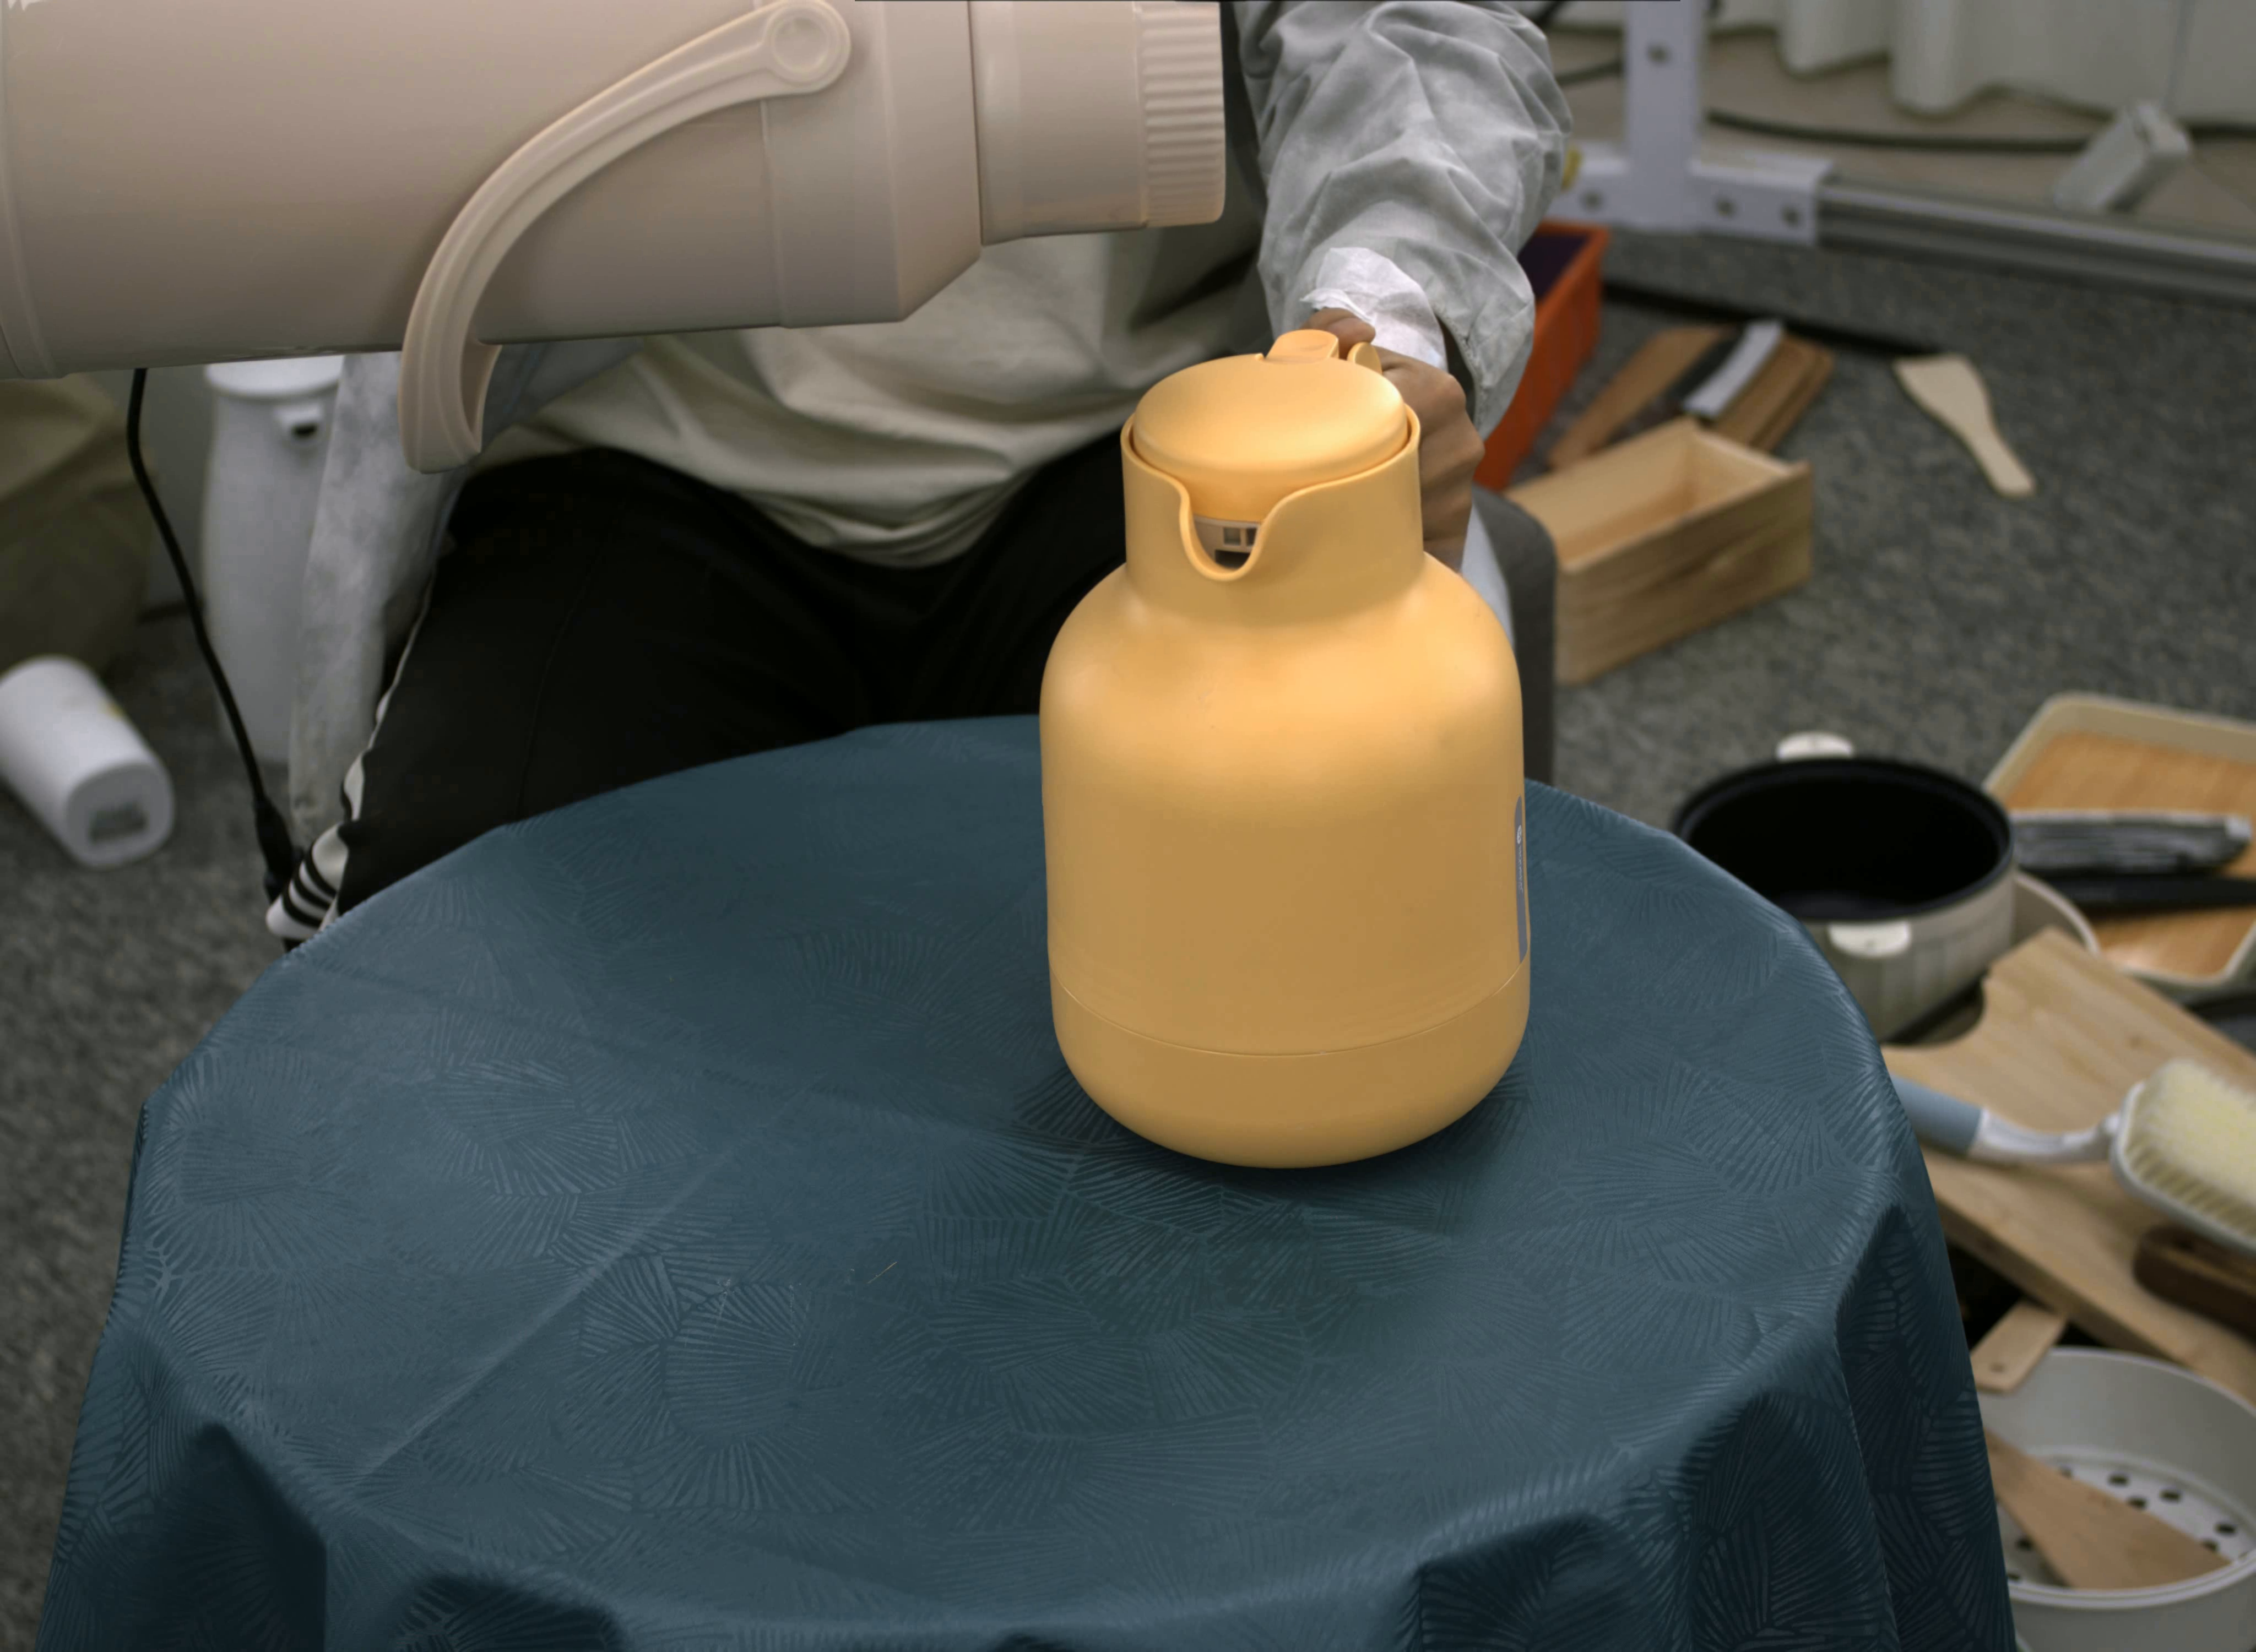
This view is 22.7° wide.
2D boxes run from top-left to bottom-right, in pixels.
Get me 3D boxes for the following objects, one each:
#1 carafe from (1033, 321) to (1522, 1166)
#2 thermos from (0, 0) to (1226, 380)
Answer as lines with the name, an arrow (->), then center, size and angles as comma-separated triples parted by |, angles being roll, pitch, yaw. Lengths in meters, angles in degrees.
carafe -> 0.055, -0.037, 1.880 | 0.162, 0.257, 0.206 | 7, 29, 14
thermos -> -0.175, -0.247, 1.770 | 0.404, 0.208, 0.175 | -3, -1, -1
